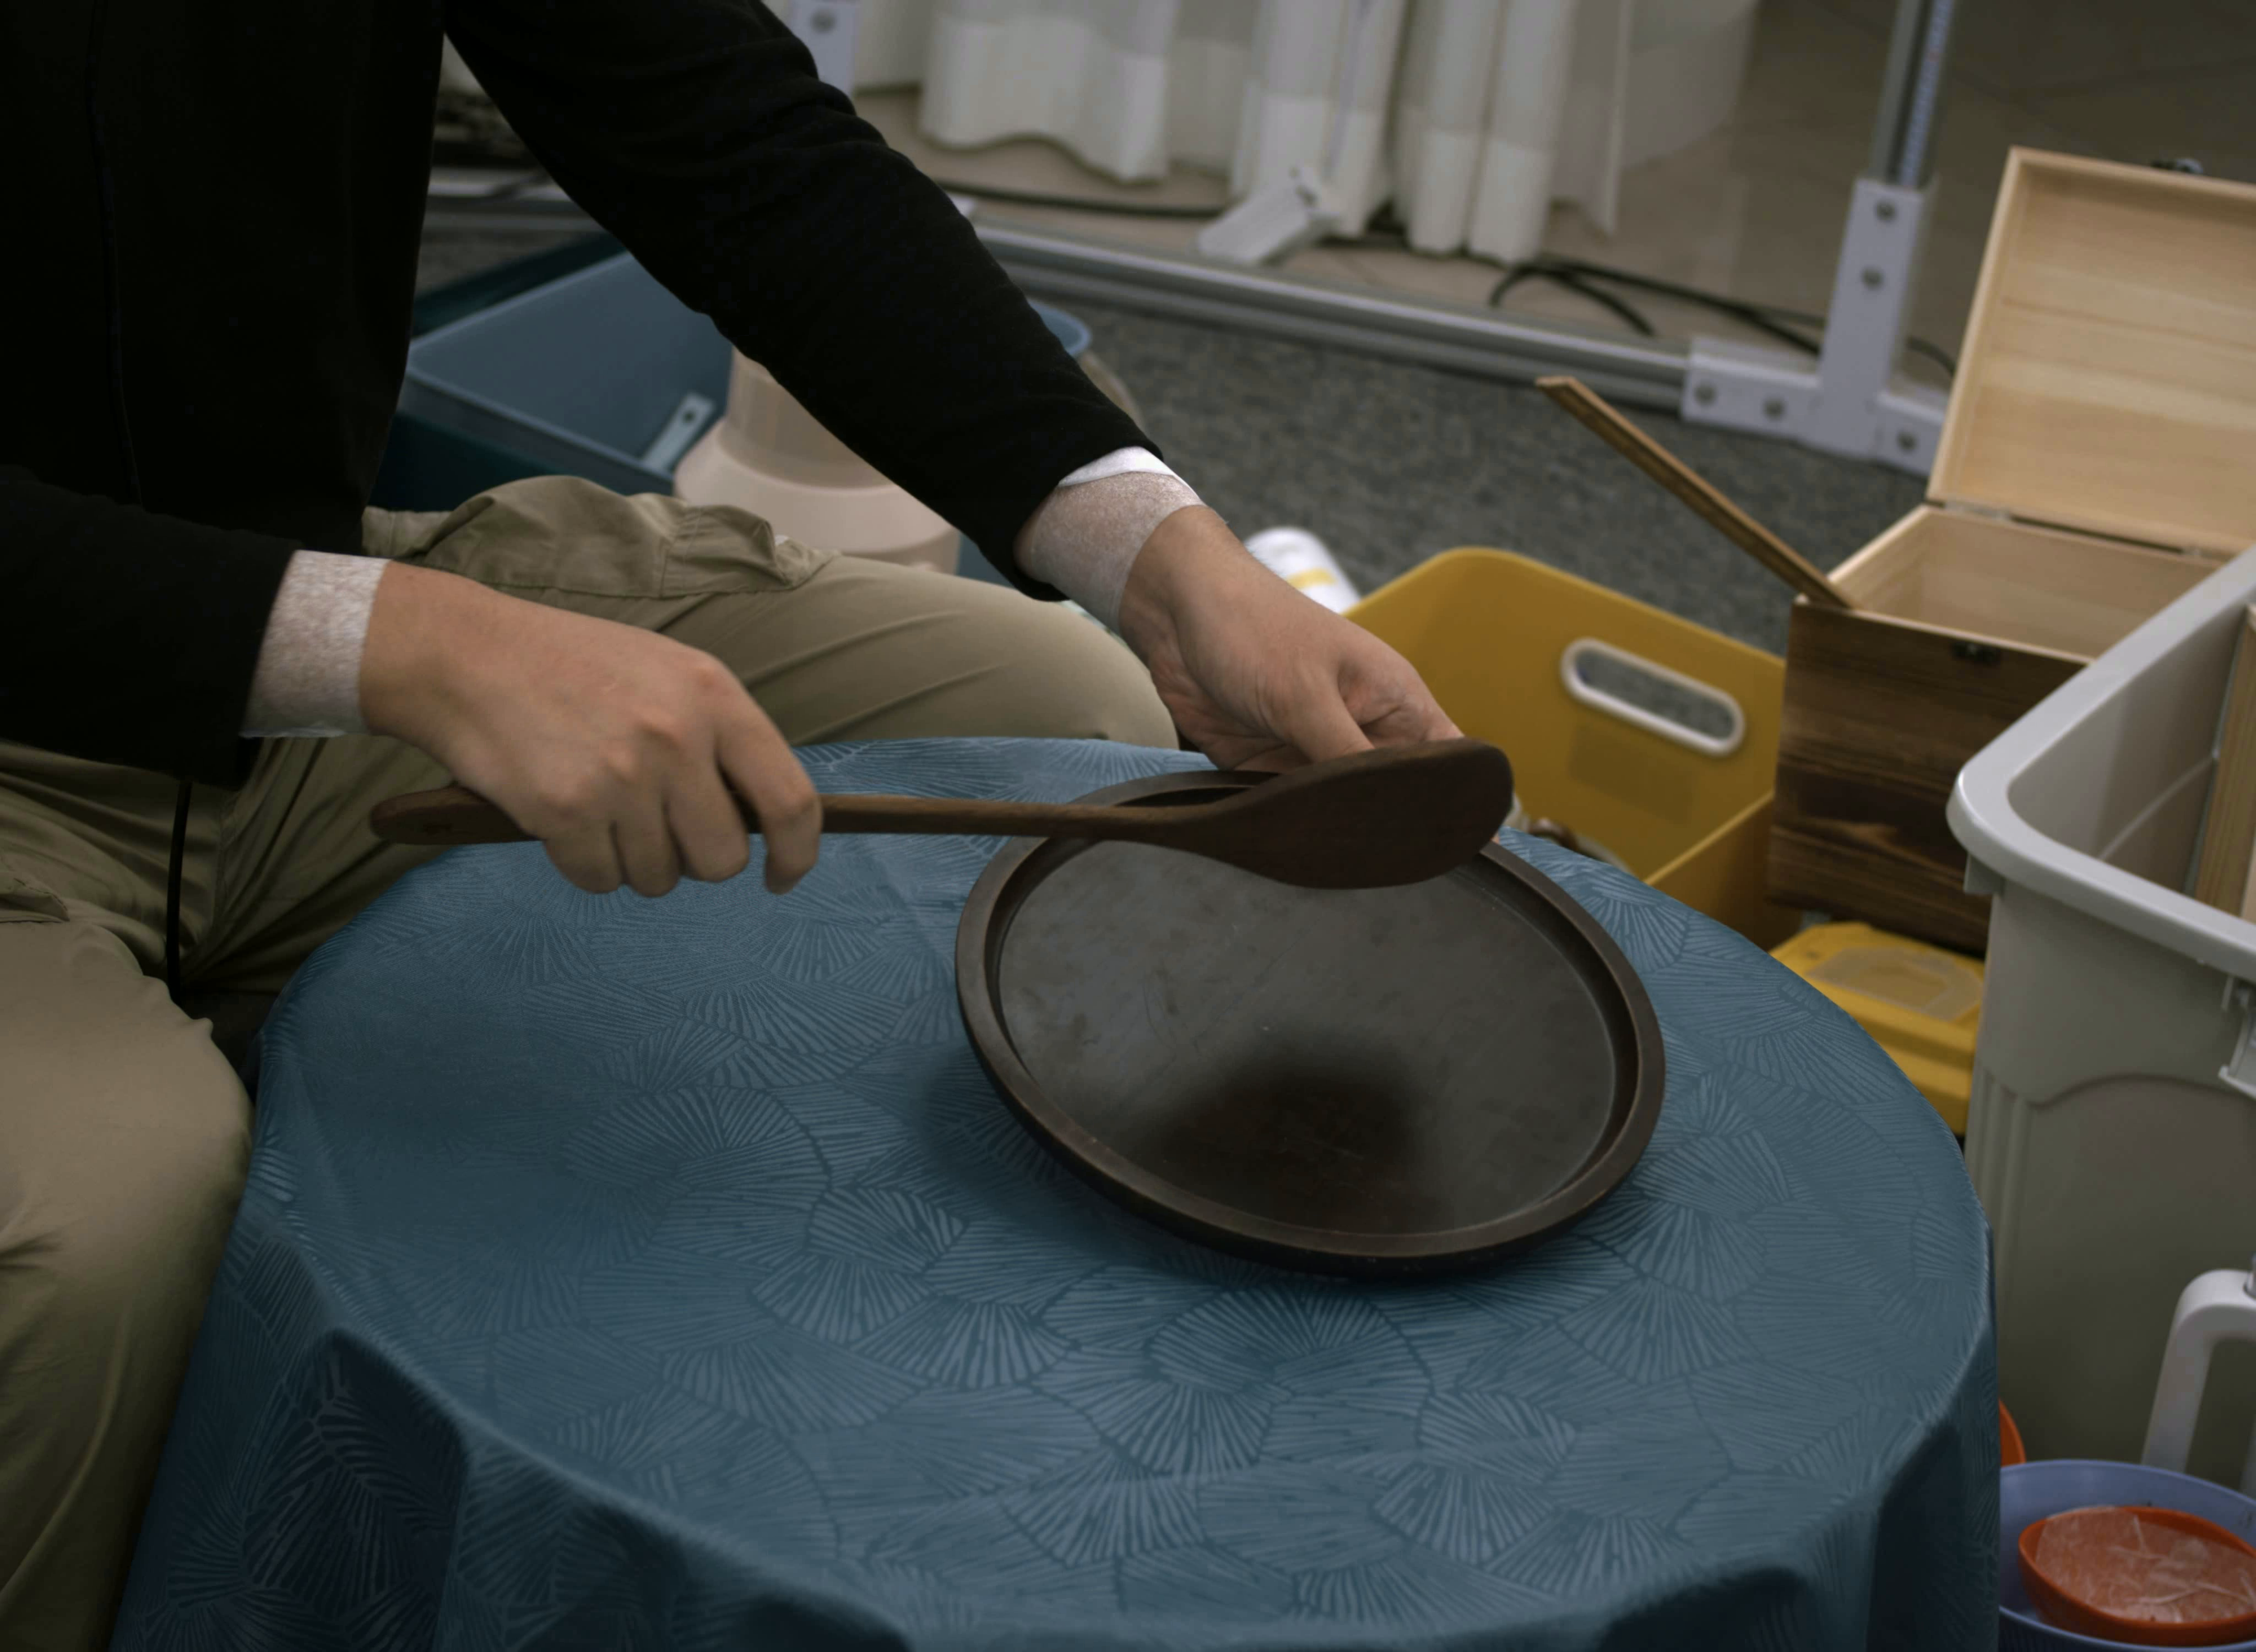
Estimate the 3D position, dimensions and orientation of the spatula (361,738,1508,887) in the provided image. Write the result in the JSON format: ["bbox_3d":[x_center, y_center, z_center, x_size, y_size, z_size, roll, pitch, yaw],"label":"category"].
[{"bbox_3d":[-0.064,-0.004,1.787,0.384,0.095,0.016,1,62,-6],"label":"spatula"}]

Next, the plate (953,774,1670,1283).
[{"bbox_3d":[0.063,0.068,1.846,0.254,0.029,0.257,7,39,-6],"label":"plate"}]
